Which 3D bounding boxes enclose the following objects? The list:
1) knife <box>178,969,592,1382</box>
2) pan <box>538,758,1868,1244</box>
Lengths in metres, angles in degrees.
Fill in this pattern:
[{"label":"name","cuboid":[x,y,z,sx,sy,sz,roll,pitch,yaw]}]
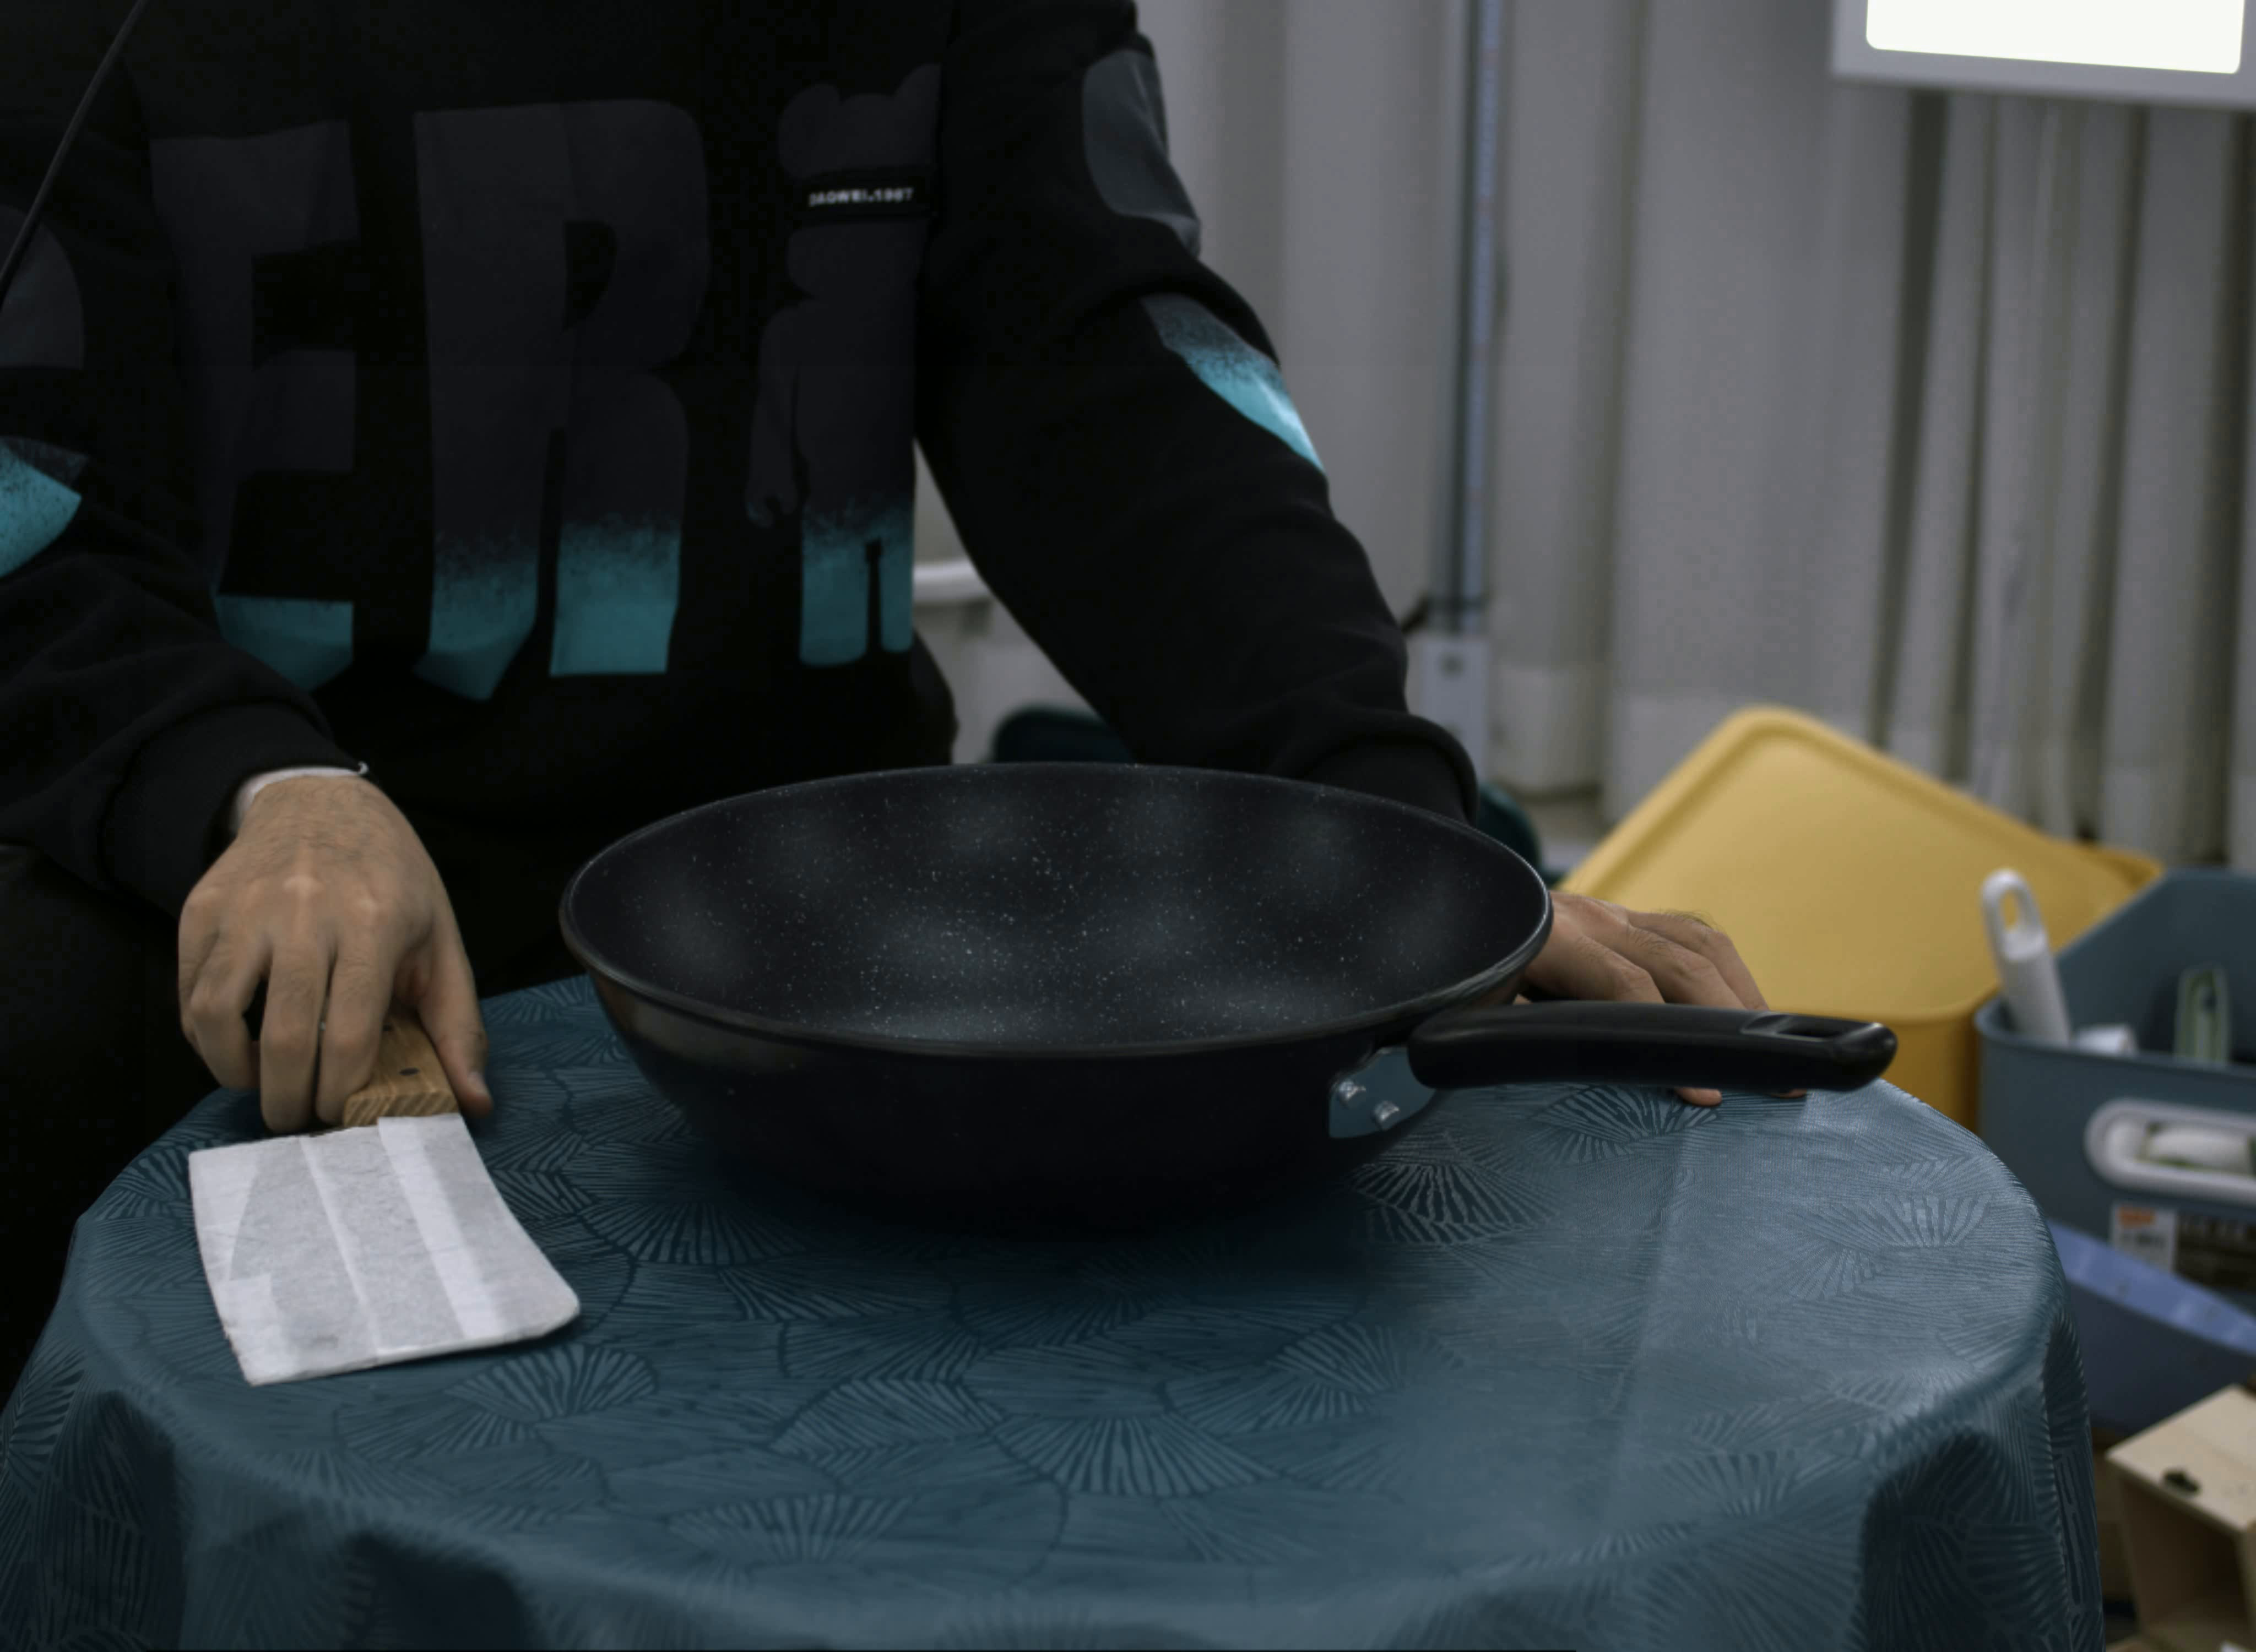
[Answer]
[{"label":"knife","cuboid":[-0.233,0.104,1.613,0.114,0.022,0.312,-7,19,-10]},{"label":"pan","cuboid":[0.030,0.066,1.591,0.470,0.112,0.311,15,23,43]}]
